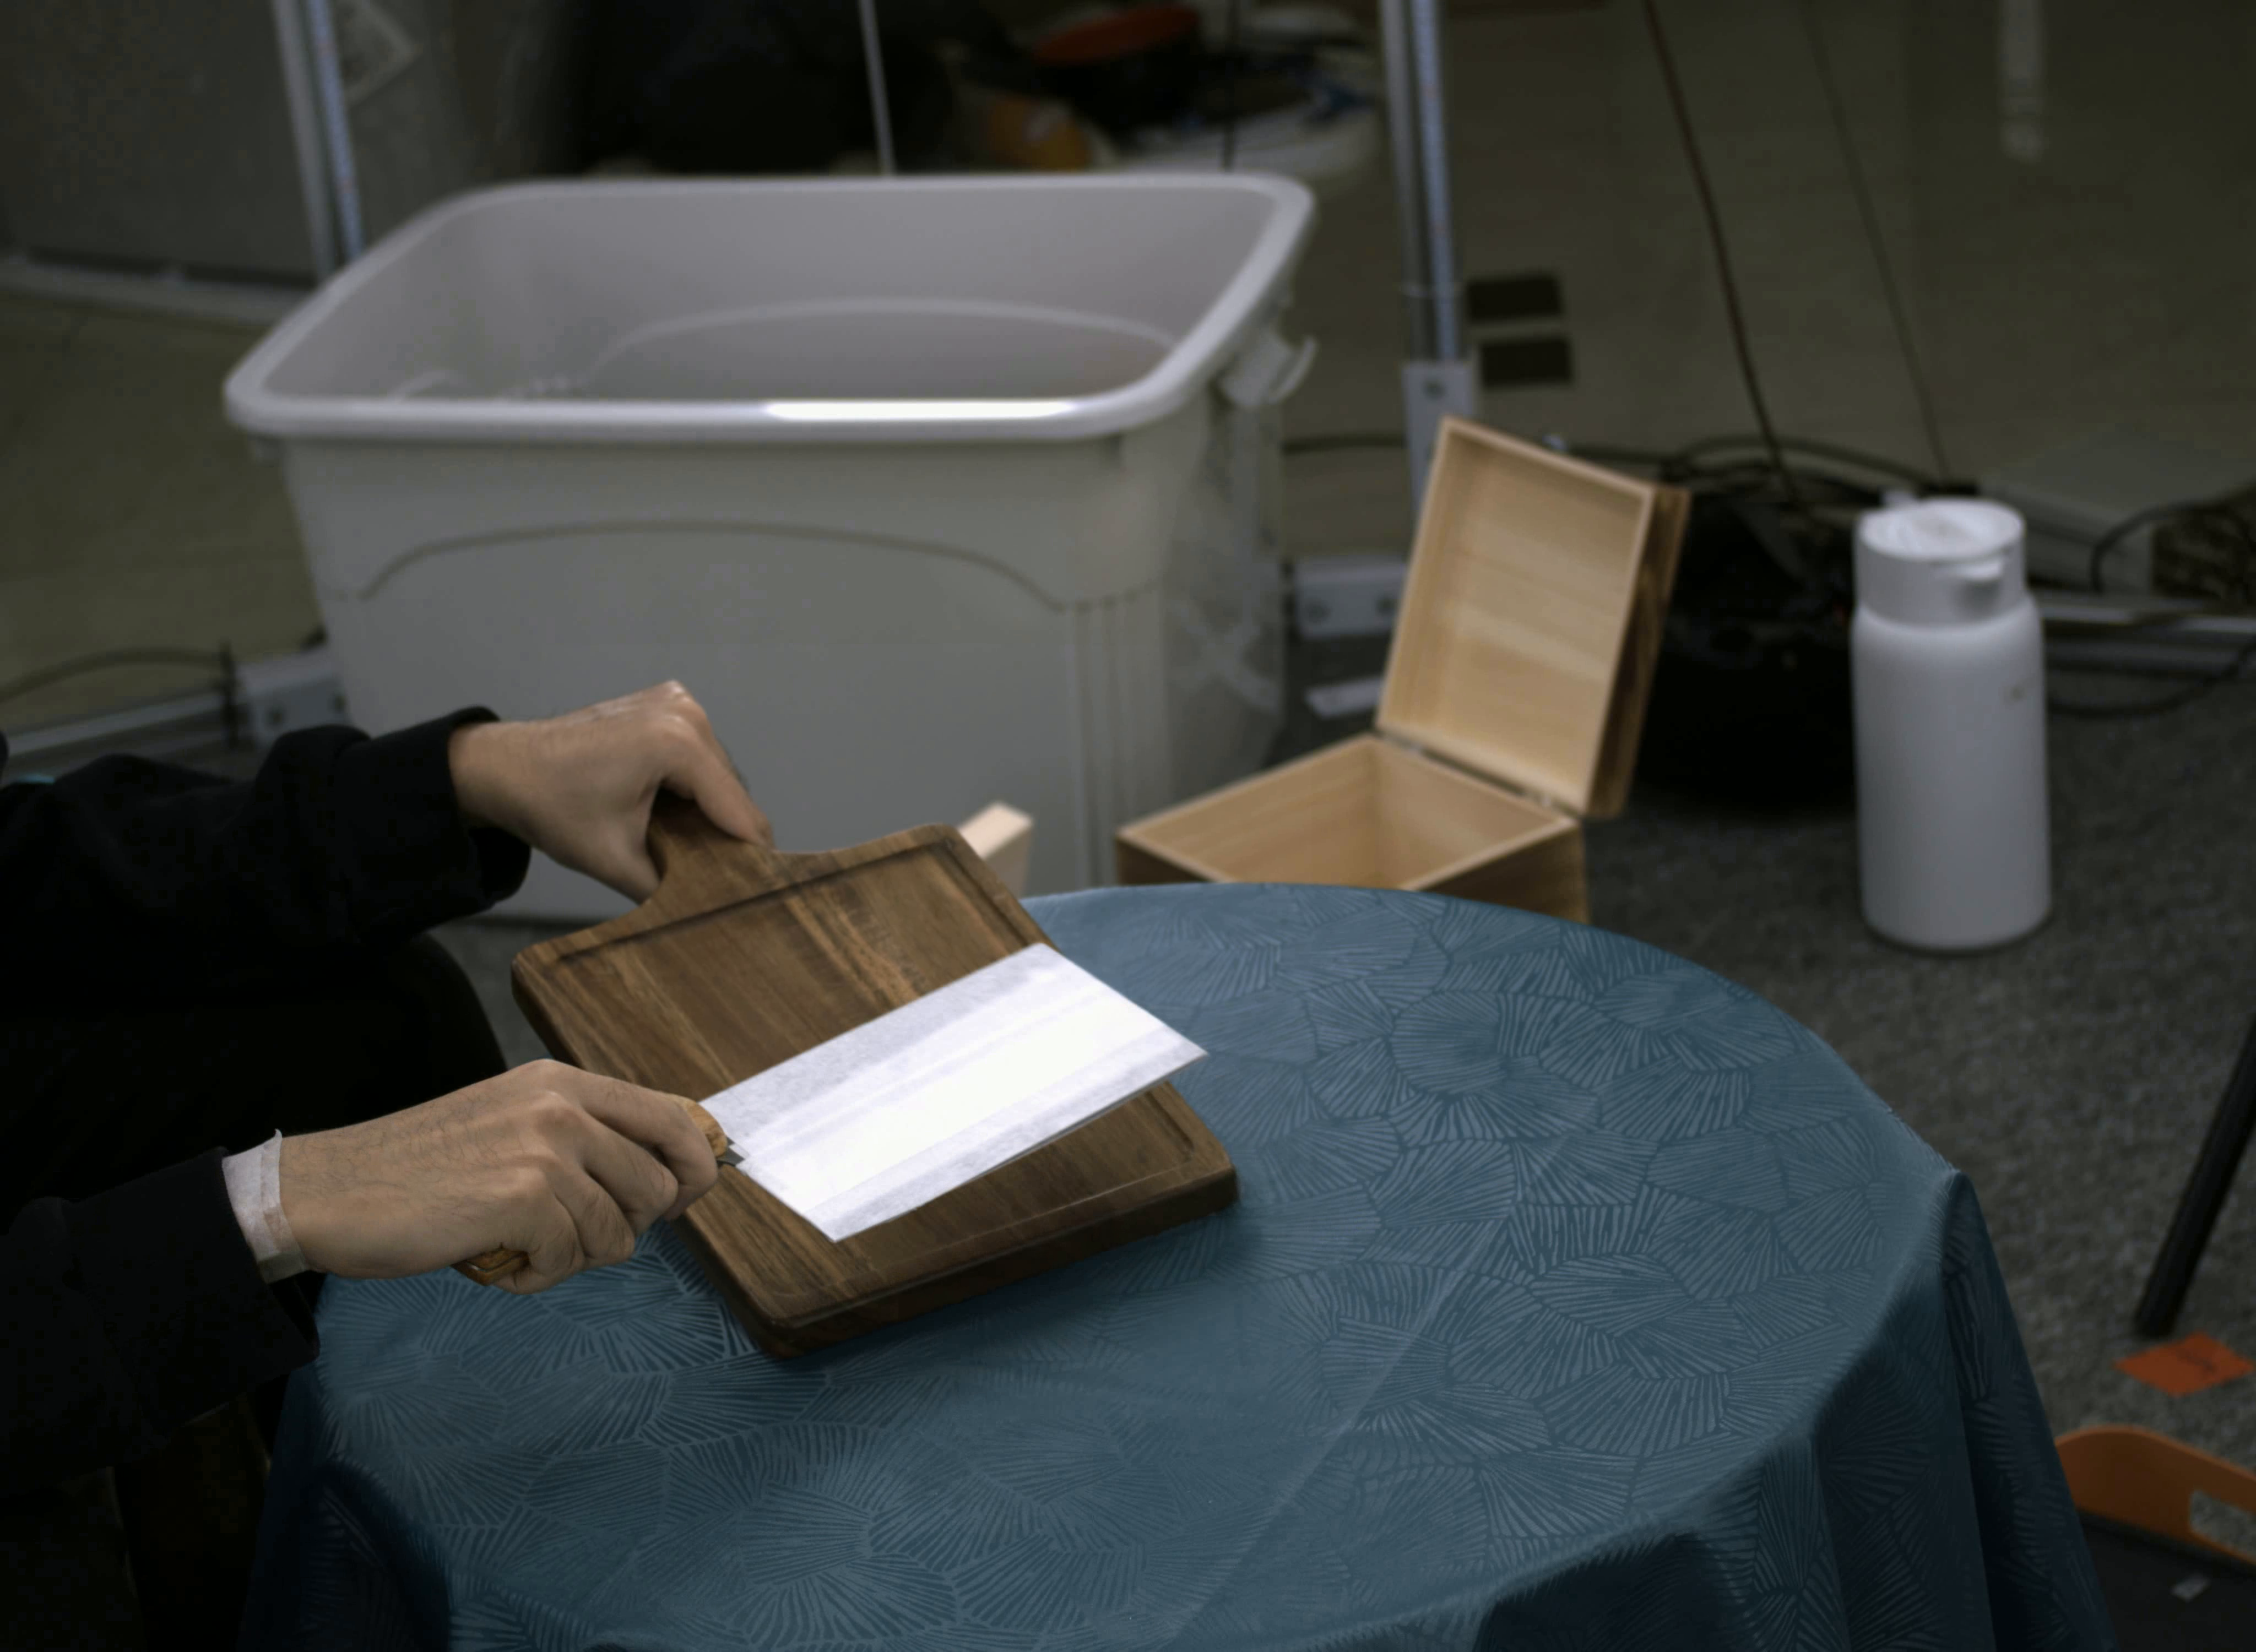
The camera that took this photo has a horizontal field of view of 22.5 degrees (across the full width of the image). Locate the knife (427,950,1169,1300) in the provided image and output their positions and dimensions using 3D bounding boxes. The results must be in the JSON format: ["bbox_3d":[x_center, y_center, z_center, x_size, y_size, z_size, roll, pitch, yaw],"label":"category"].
[{"bbox_3d":[-0.107,0.112,2.007,0.303,0.021,0.092,-24,45,-39],"label":"knife"}]

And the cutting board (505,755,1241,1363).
[{"bbox_3d":[-0.124,0.070,2.204,0.200,0.023,0.347,-18,41,-23],"label":"cutting board"}]
